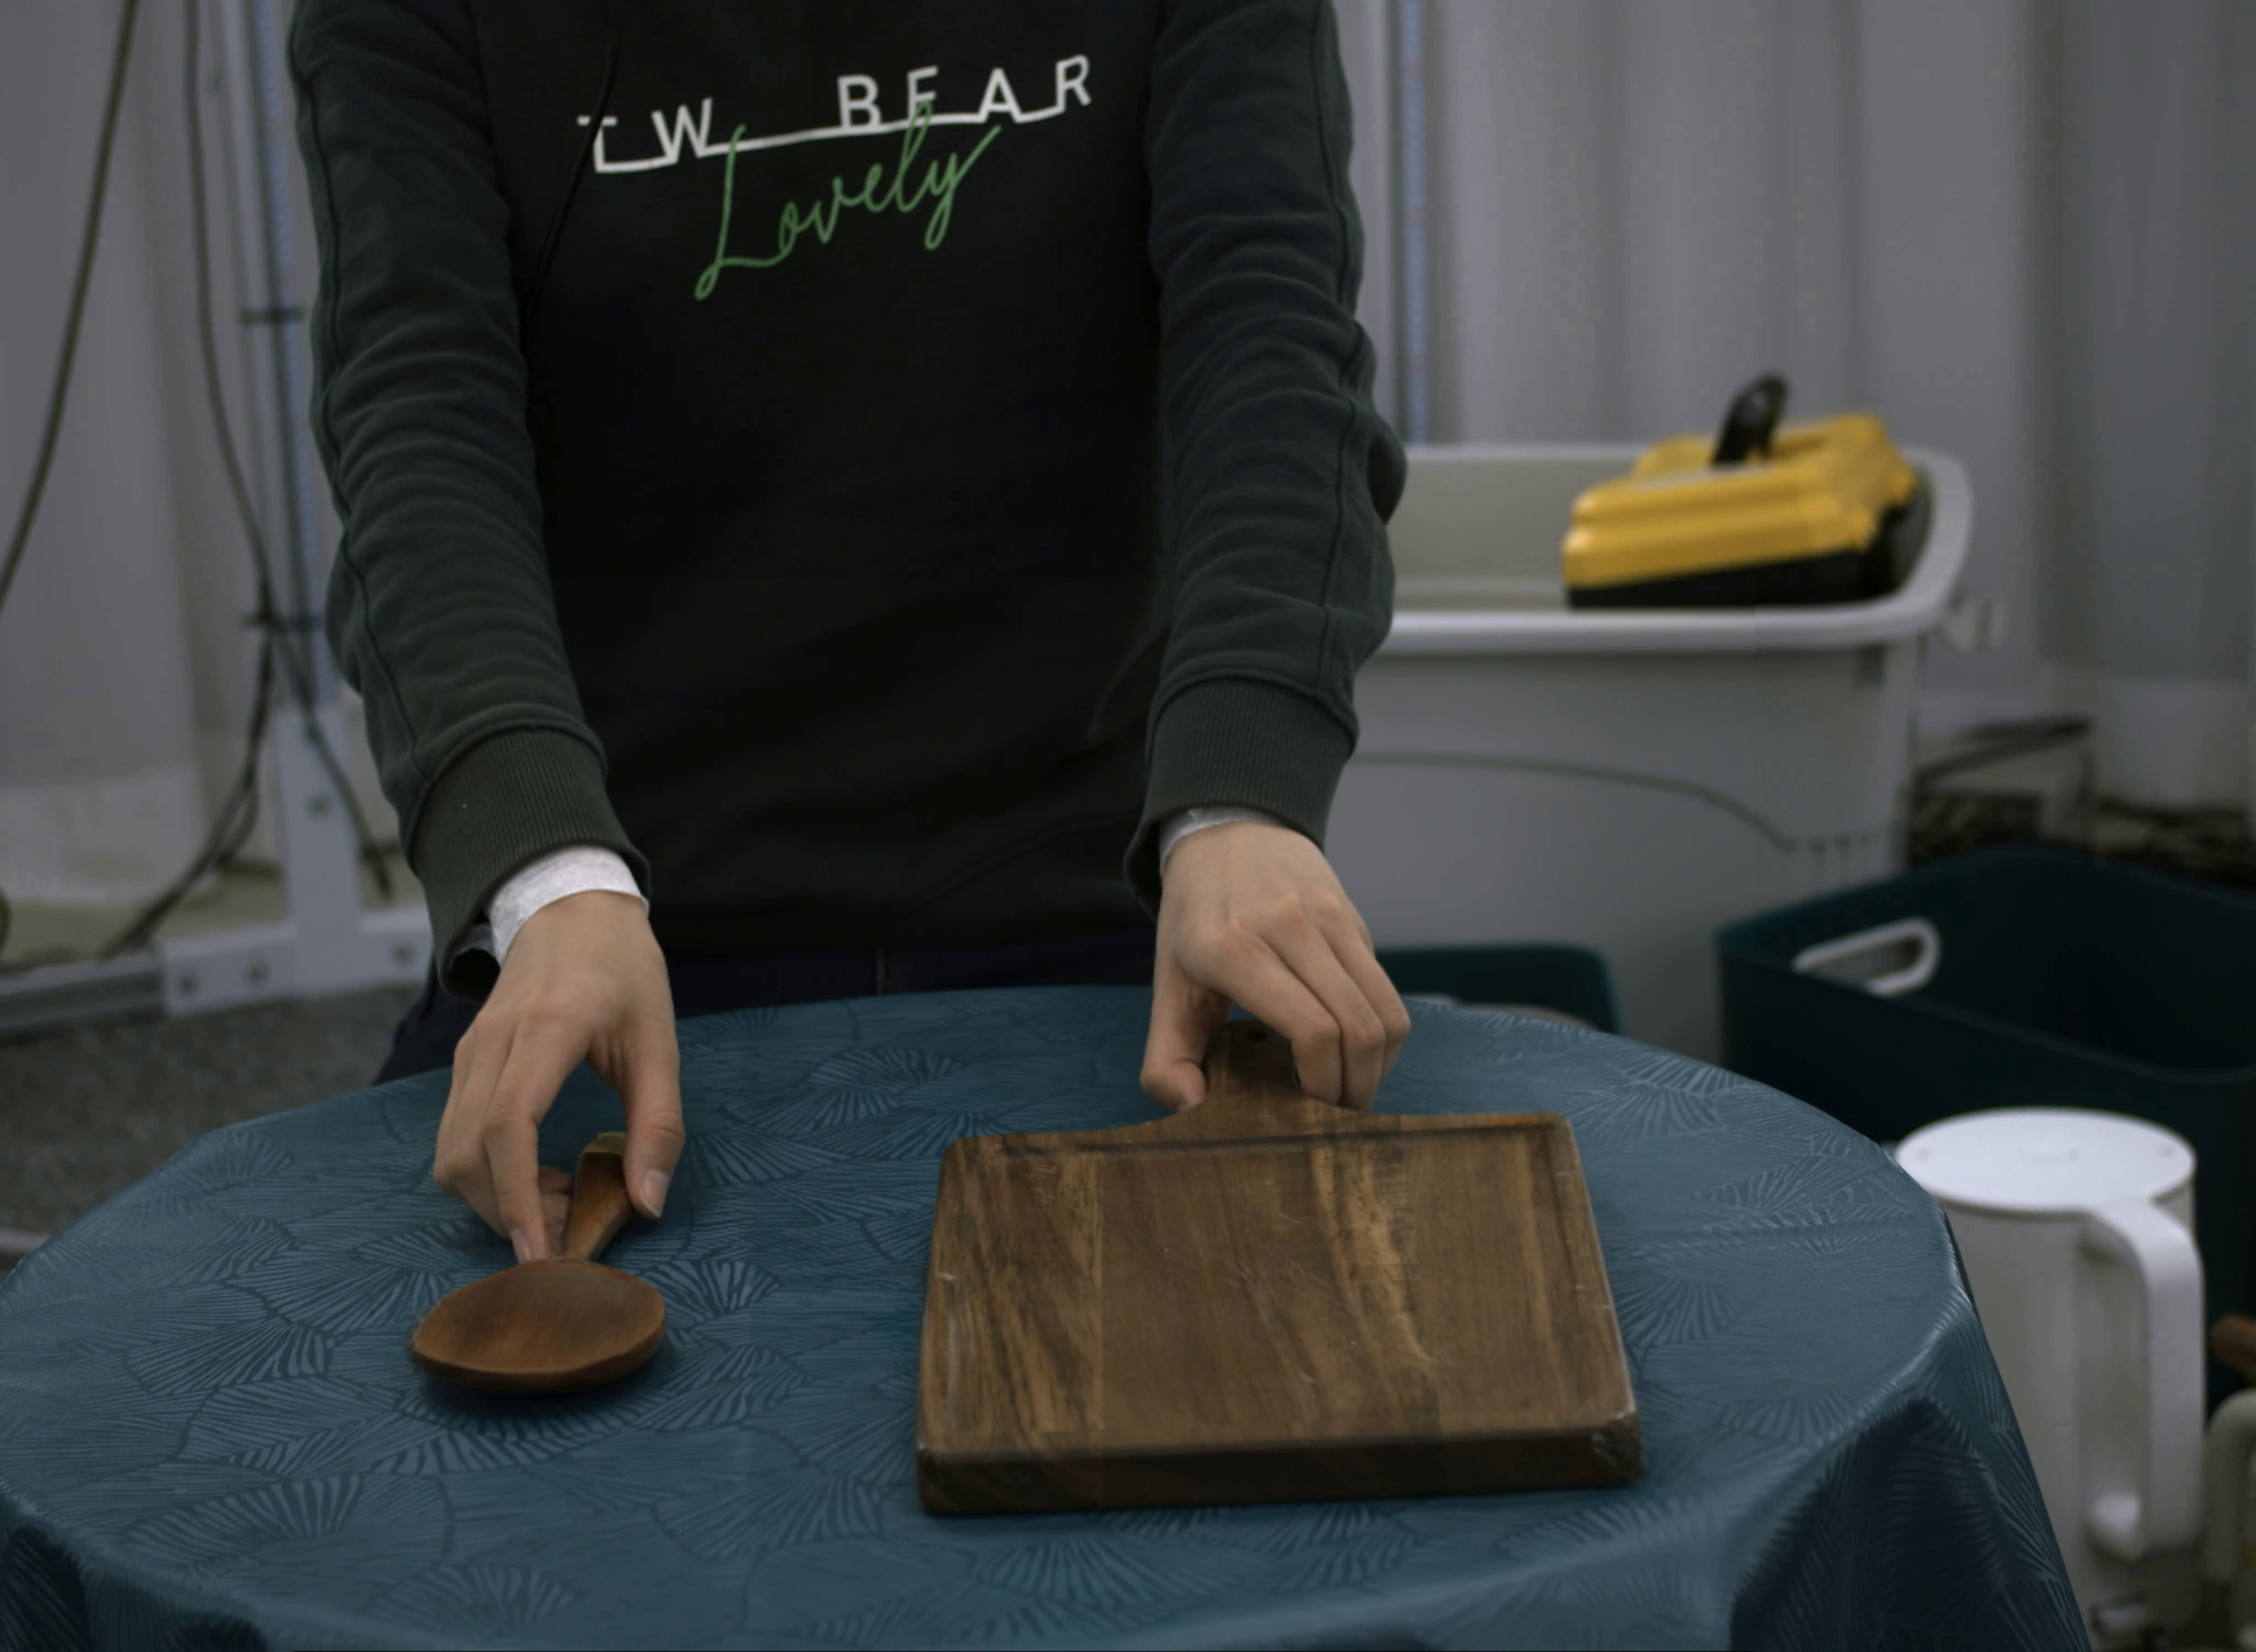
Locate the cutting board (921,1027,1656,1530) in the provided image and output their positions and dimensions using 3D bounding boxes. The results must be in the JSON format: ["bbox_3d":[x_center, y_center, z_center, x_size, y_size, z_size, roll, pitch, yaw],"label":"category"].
[{"bbox_3d":[0.041,0.125,1.621,0.200,0.023,0.355,-4,16,1],"label":"cutting board"}]

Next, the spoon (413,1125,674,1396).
[{"bbox_3d":[-0.166,0.132,1.646,0.075,0.017,0.217,-3,16,4],"label":"spoon"}]
